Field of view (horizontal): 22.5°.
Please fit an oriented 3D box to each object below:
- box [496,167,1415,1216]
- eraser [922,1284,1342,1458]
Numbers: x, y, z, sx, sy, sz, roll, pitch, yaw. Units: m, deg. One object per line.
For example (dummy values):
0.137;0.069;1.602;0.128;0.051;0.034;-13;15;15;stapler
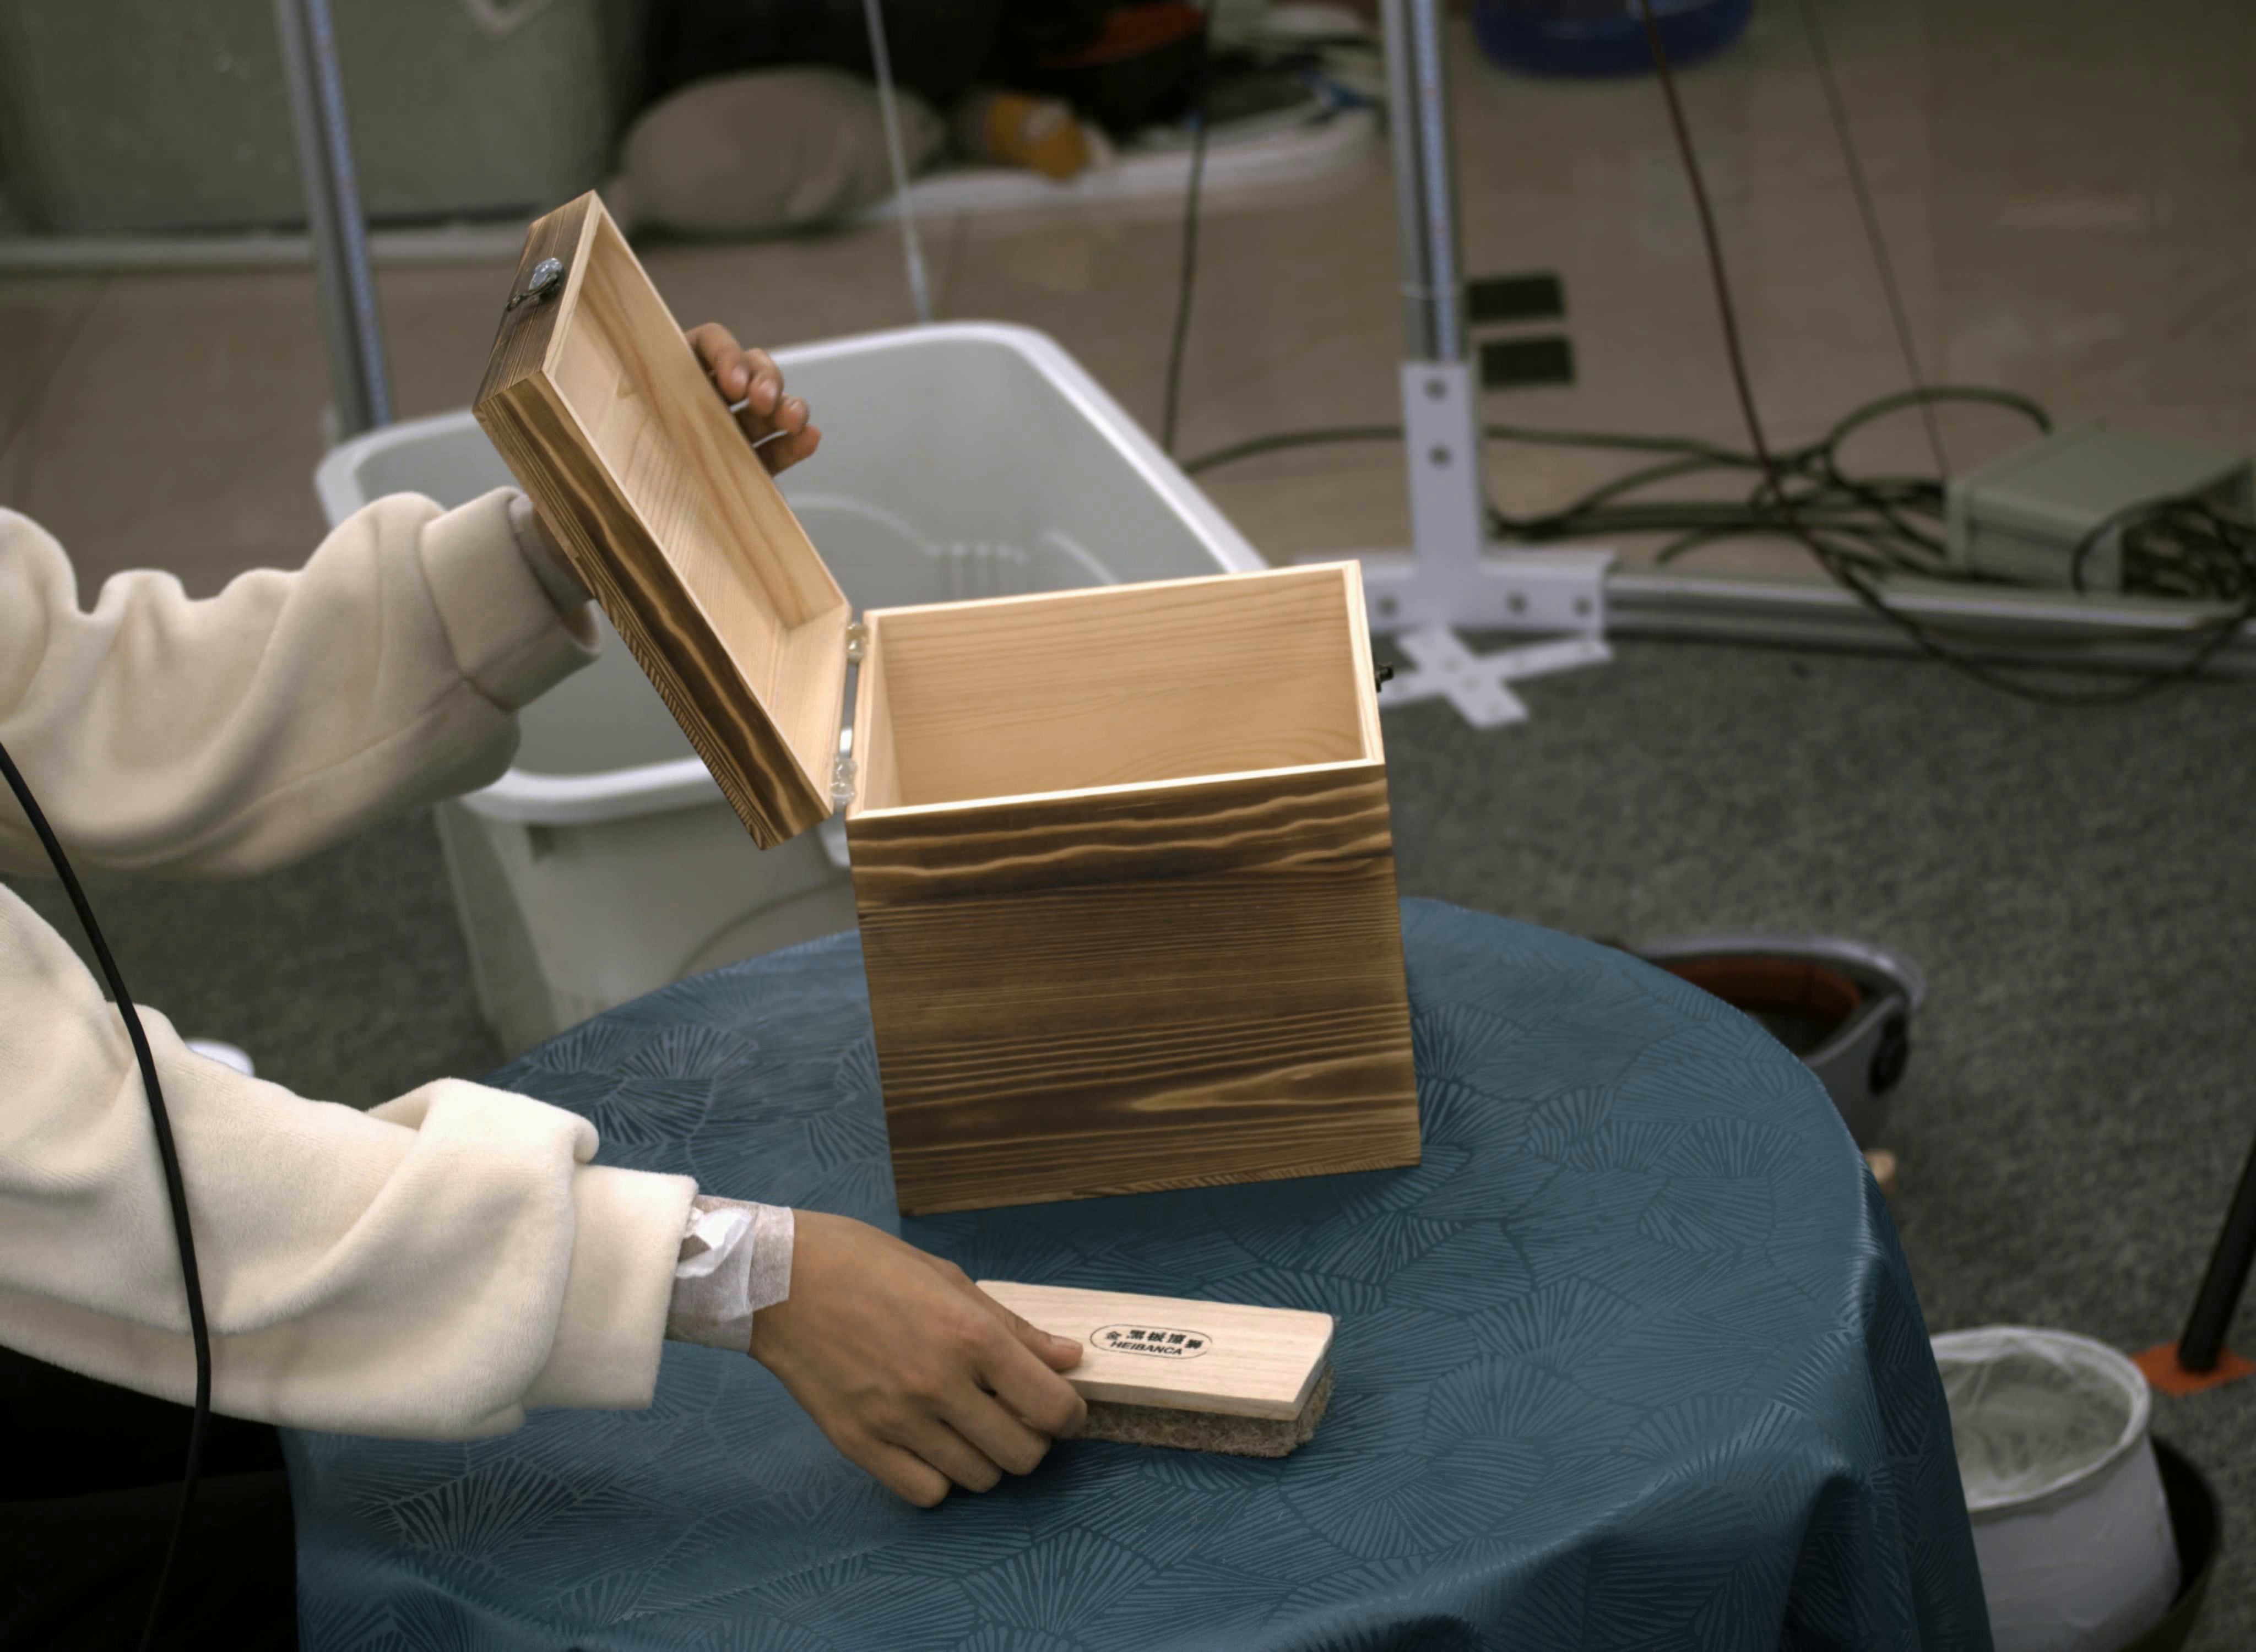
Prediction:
-0.058;-0.060;2.152;0.321;0.381;0.205;-6;27;1;box
0.002;0.193;1.999;0.139;0.029;0.056;3;30;22;eraser
